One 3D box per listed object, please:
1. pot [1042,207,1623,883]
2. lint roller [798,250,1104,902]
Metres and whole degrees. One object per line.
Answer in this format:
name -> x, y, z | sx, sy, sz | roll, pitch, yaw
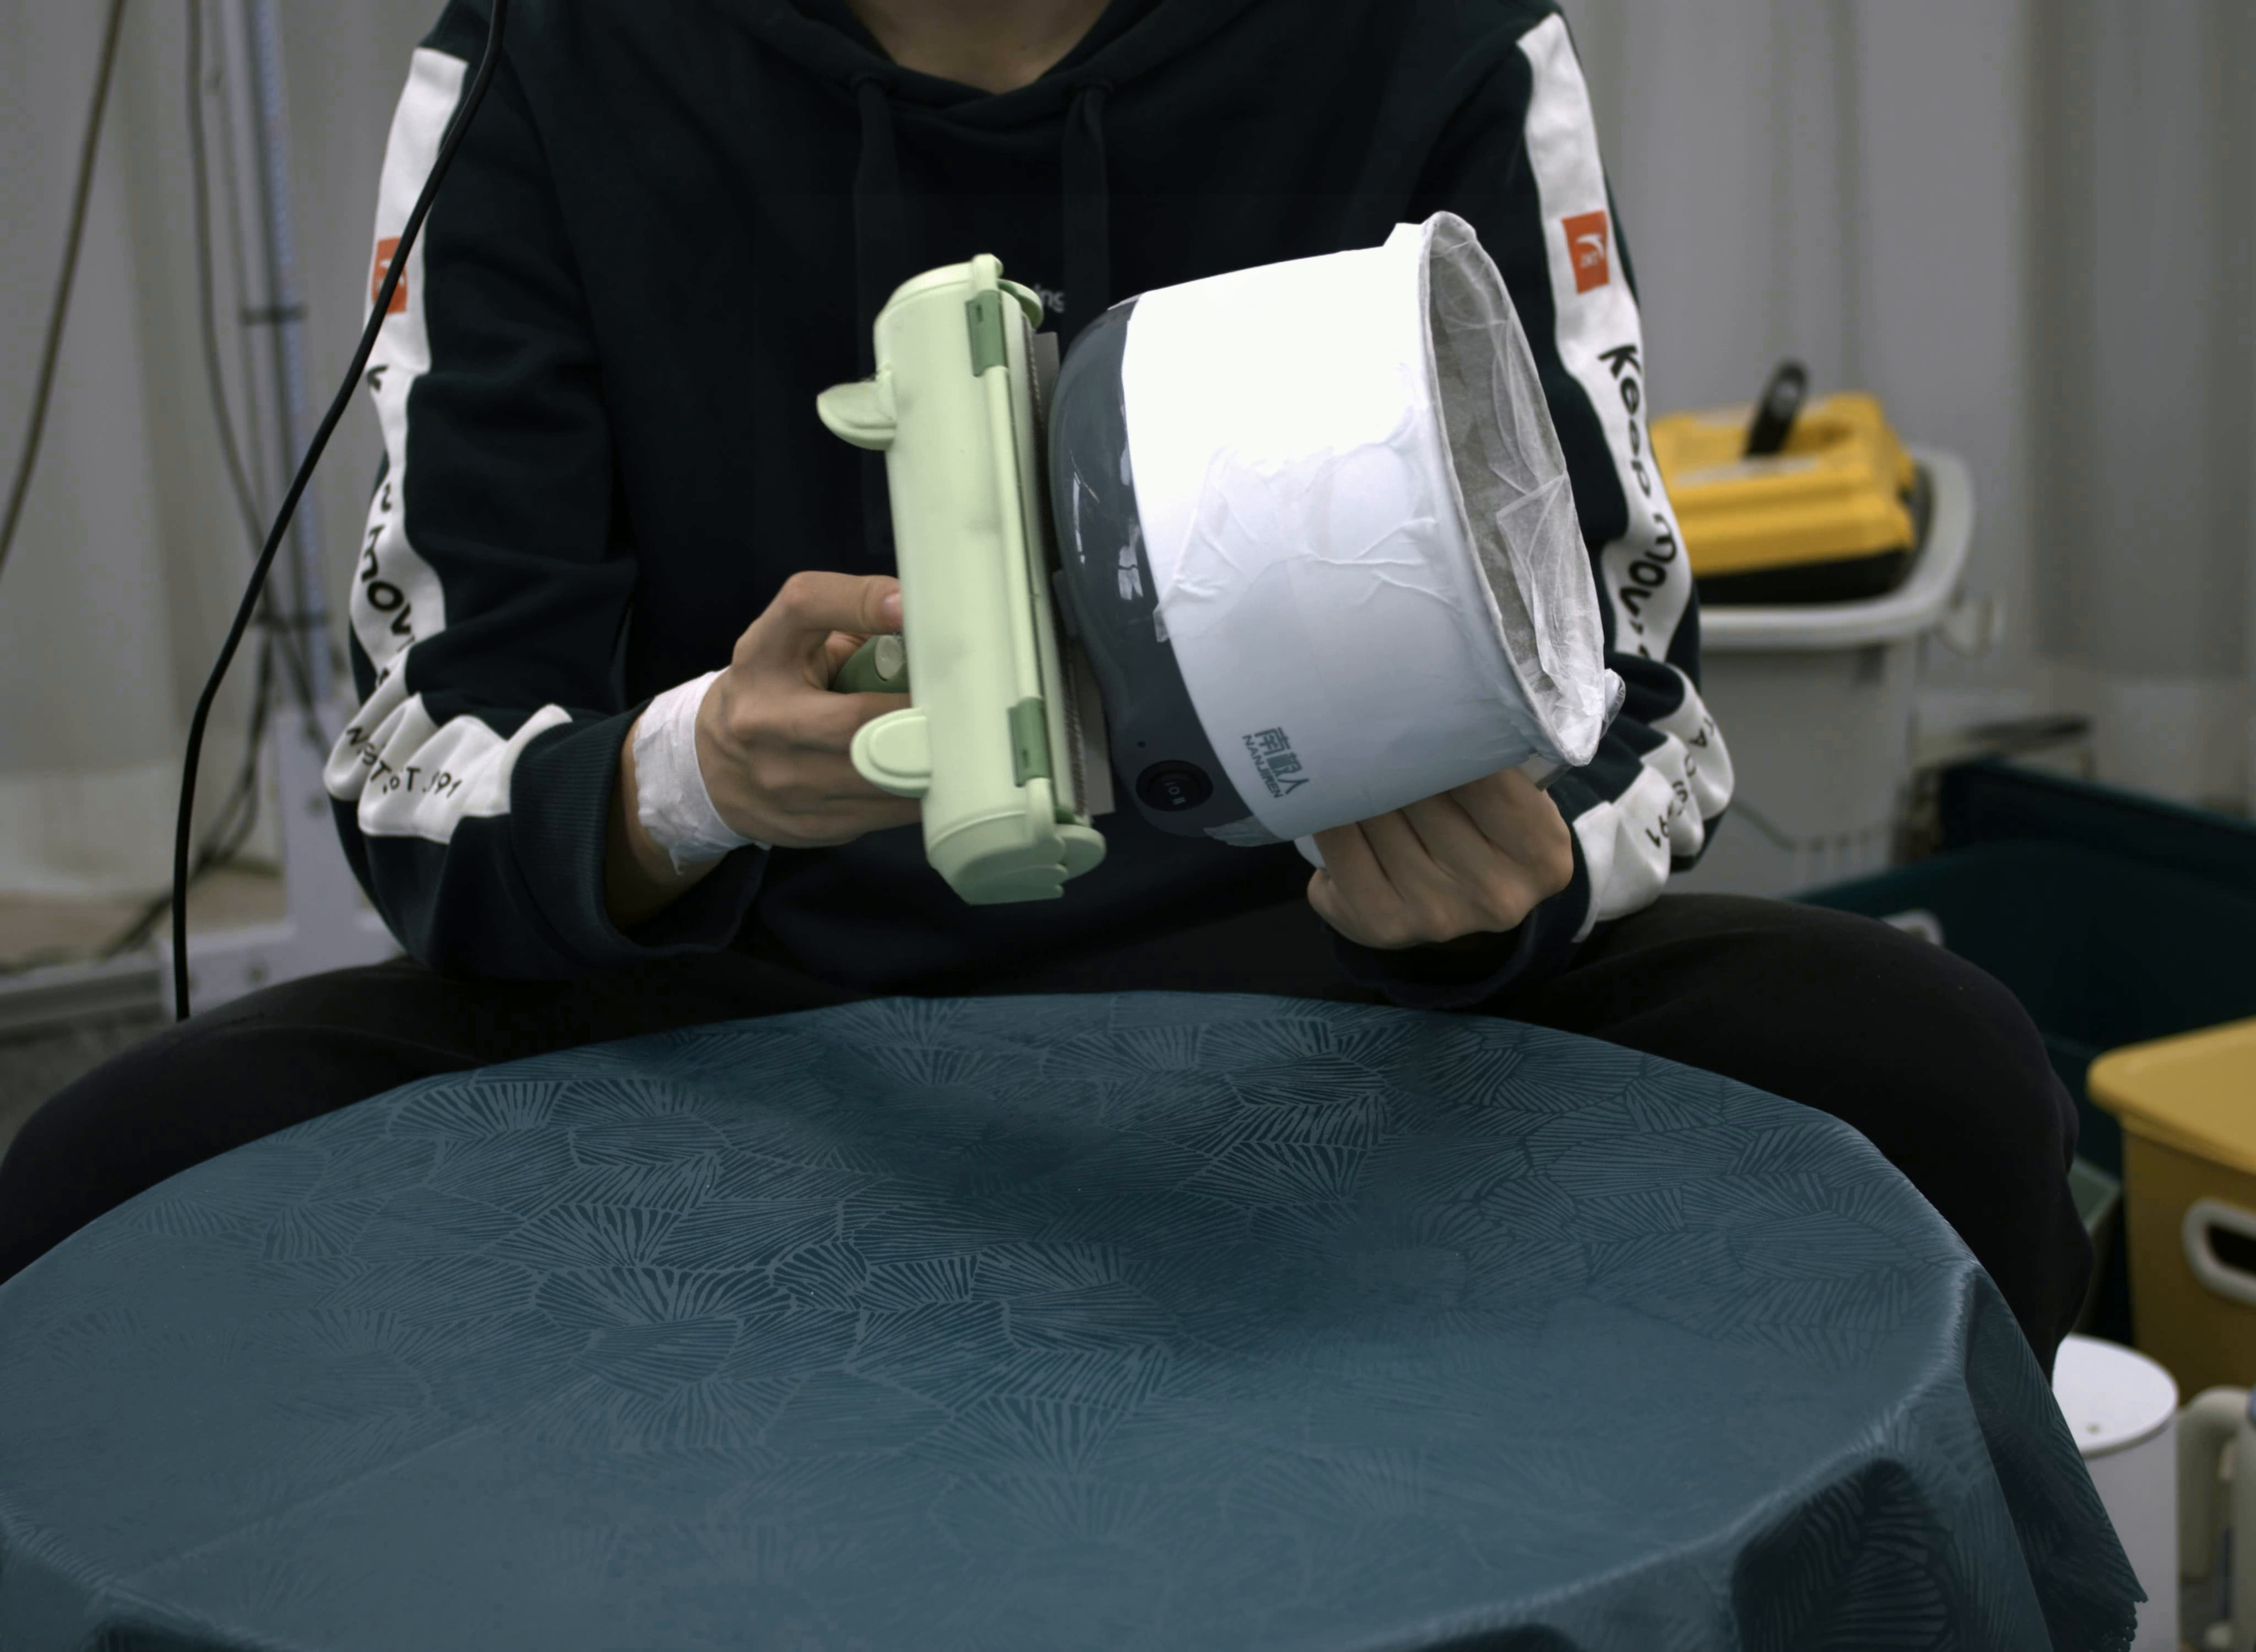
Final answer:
pot -> 0.069, -0.073, 1.722 | 0.136, 0.230, 0.181 | -14, 47, 16
lint roller -> -0.080, -0.057, 1.716 | 0.081, 0.201, 0.182 | 7, -25, -32
